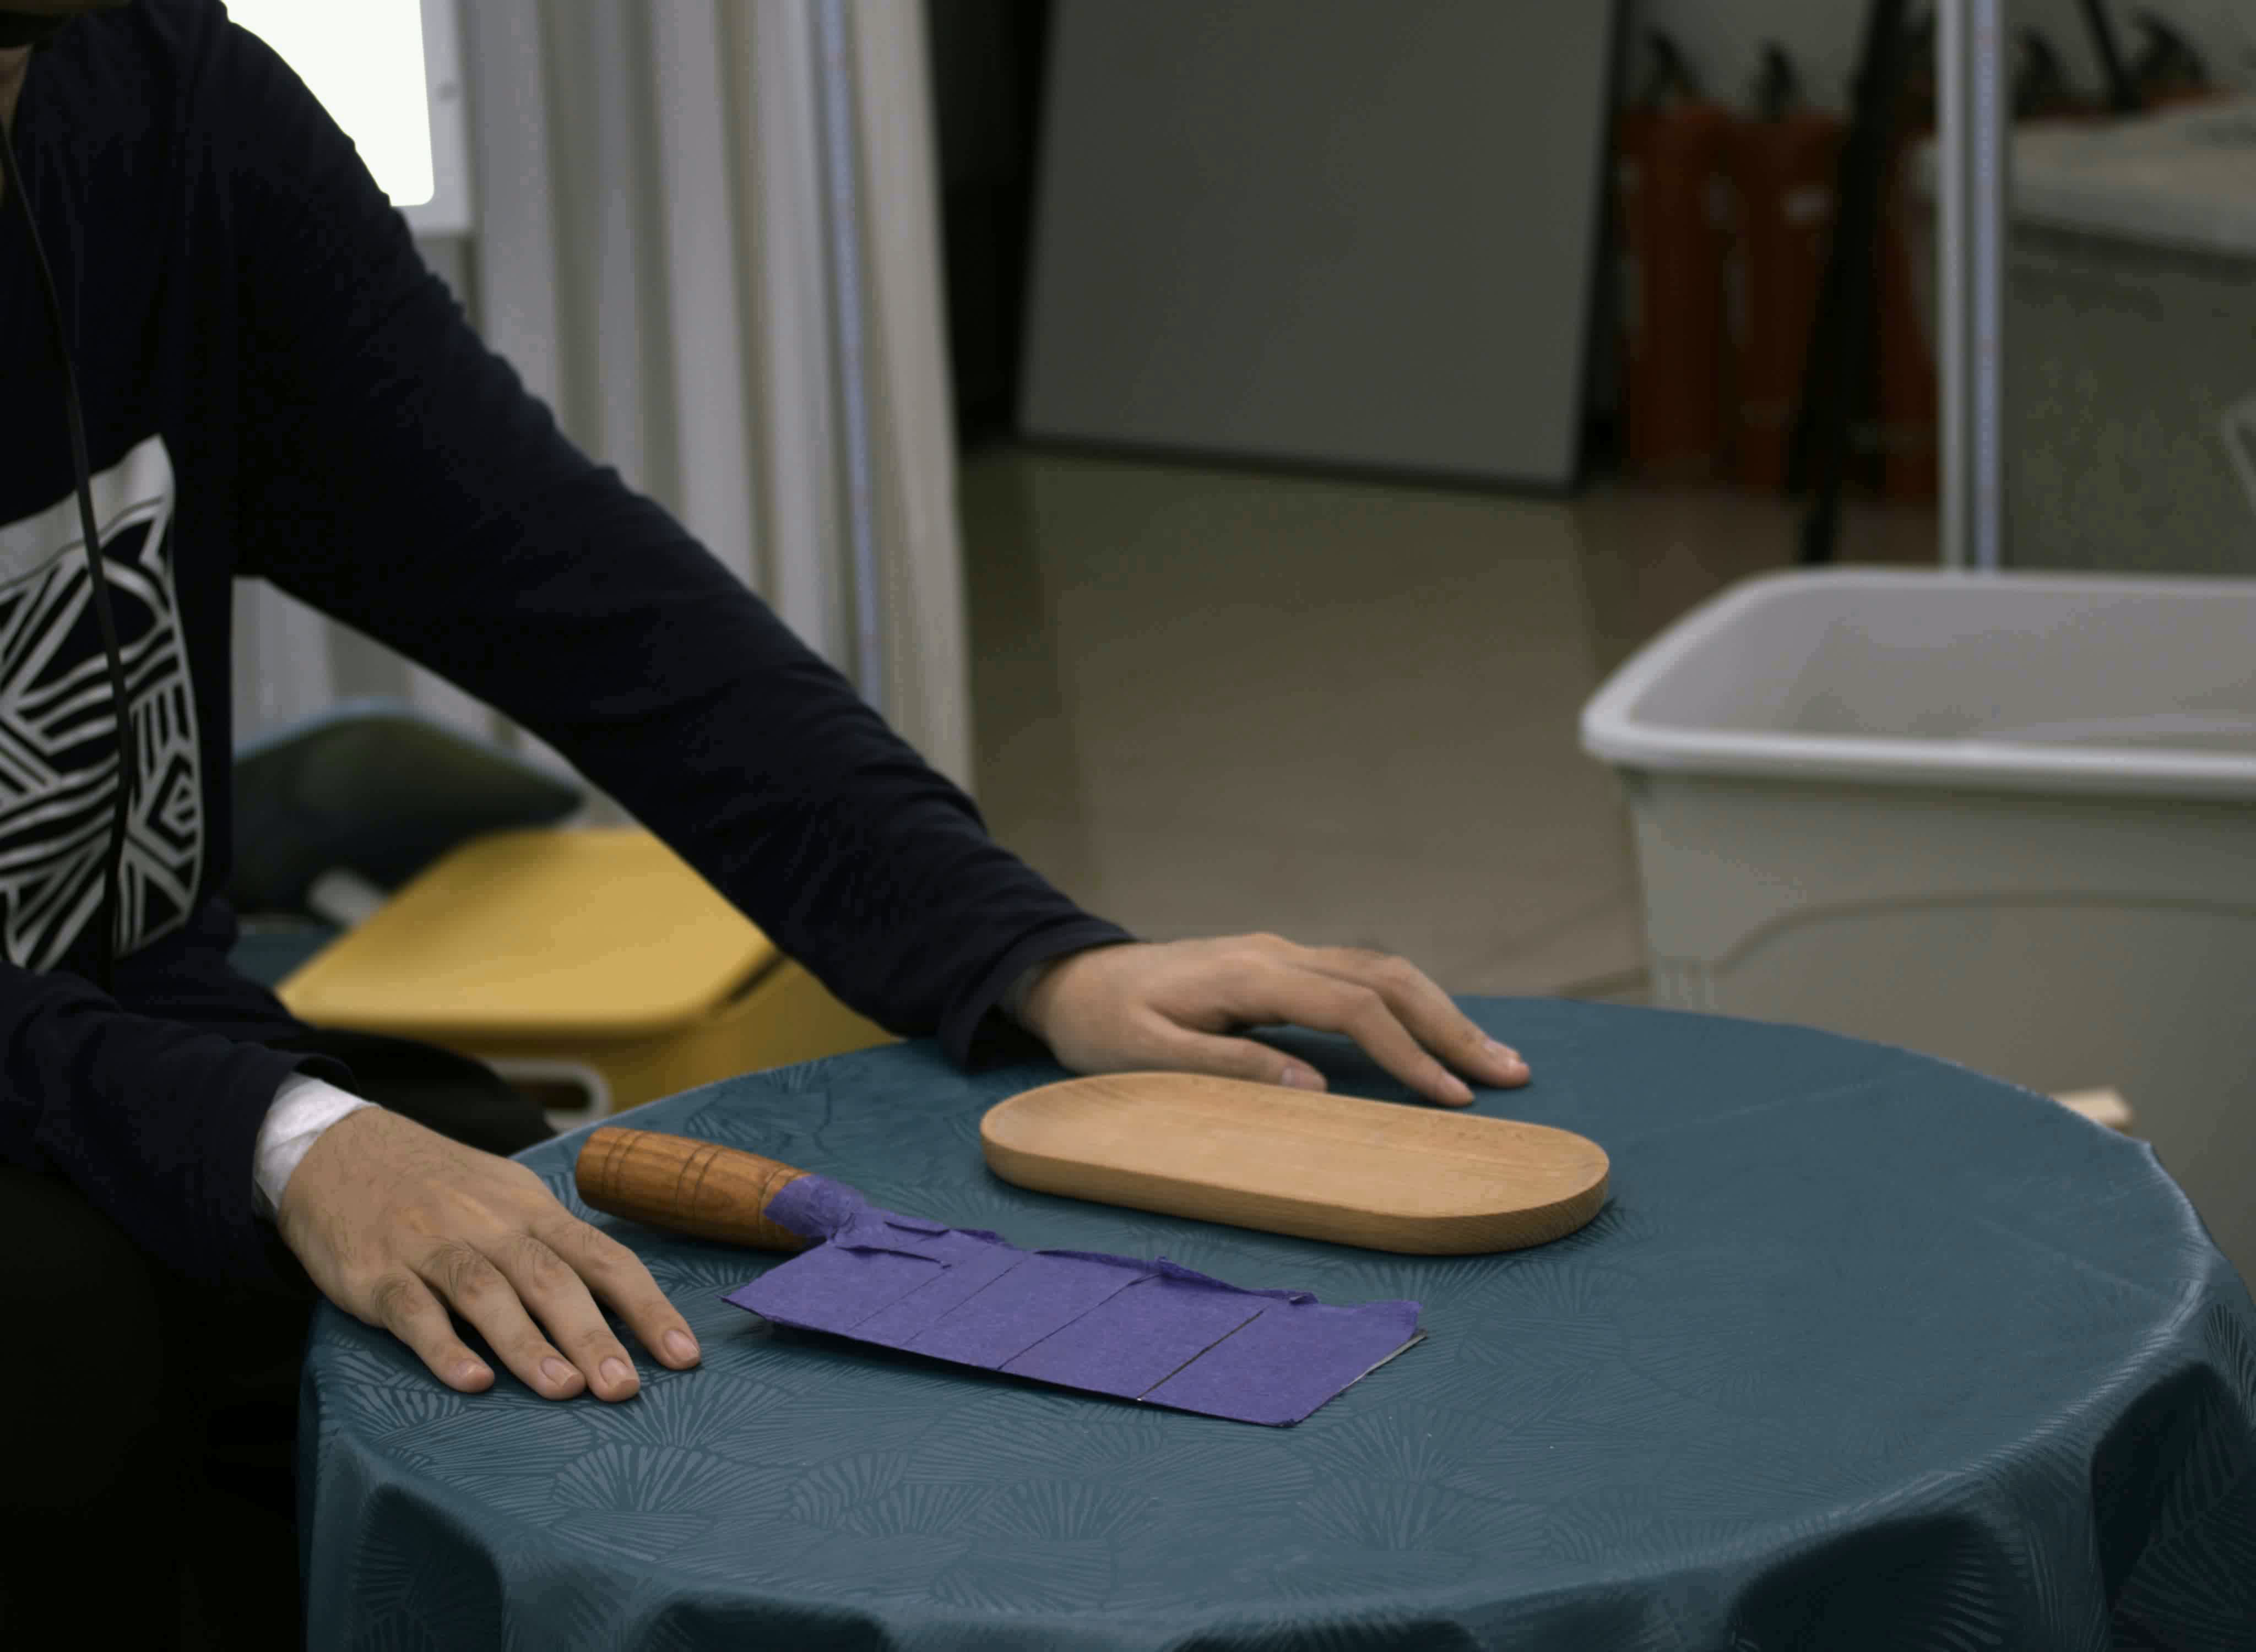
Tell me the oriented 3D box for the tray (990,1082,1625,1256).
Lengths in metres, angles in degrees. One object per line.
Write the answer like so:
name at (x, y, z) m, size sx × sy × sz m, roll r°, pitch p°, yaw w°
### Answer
tray at (0.057, 0.112, 1.765) m, size 0.232 × 0.020 × 0.100 m, roll 7°, pitch 18°, yaw 35°

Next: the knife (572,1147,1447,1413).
knife at (-0.059, 0.139, 1.664) m, size 0.317 × 0.032 × 0.102 m, roll 5°, pitch 16°, yaw 33°
